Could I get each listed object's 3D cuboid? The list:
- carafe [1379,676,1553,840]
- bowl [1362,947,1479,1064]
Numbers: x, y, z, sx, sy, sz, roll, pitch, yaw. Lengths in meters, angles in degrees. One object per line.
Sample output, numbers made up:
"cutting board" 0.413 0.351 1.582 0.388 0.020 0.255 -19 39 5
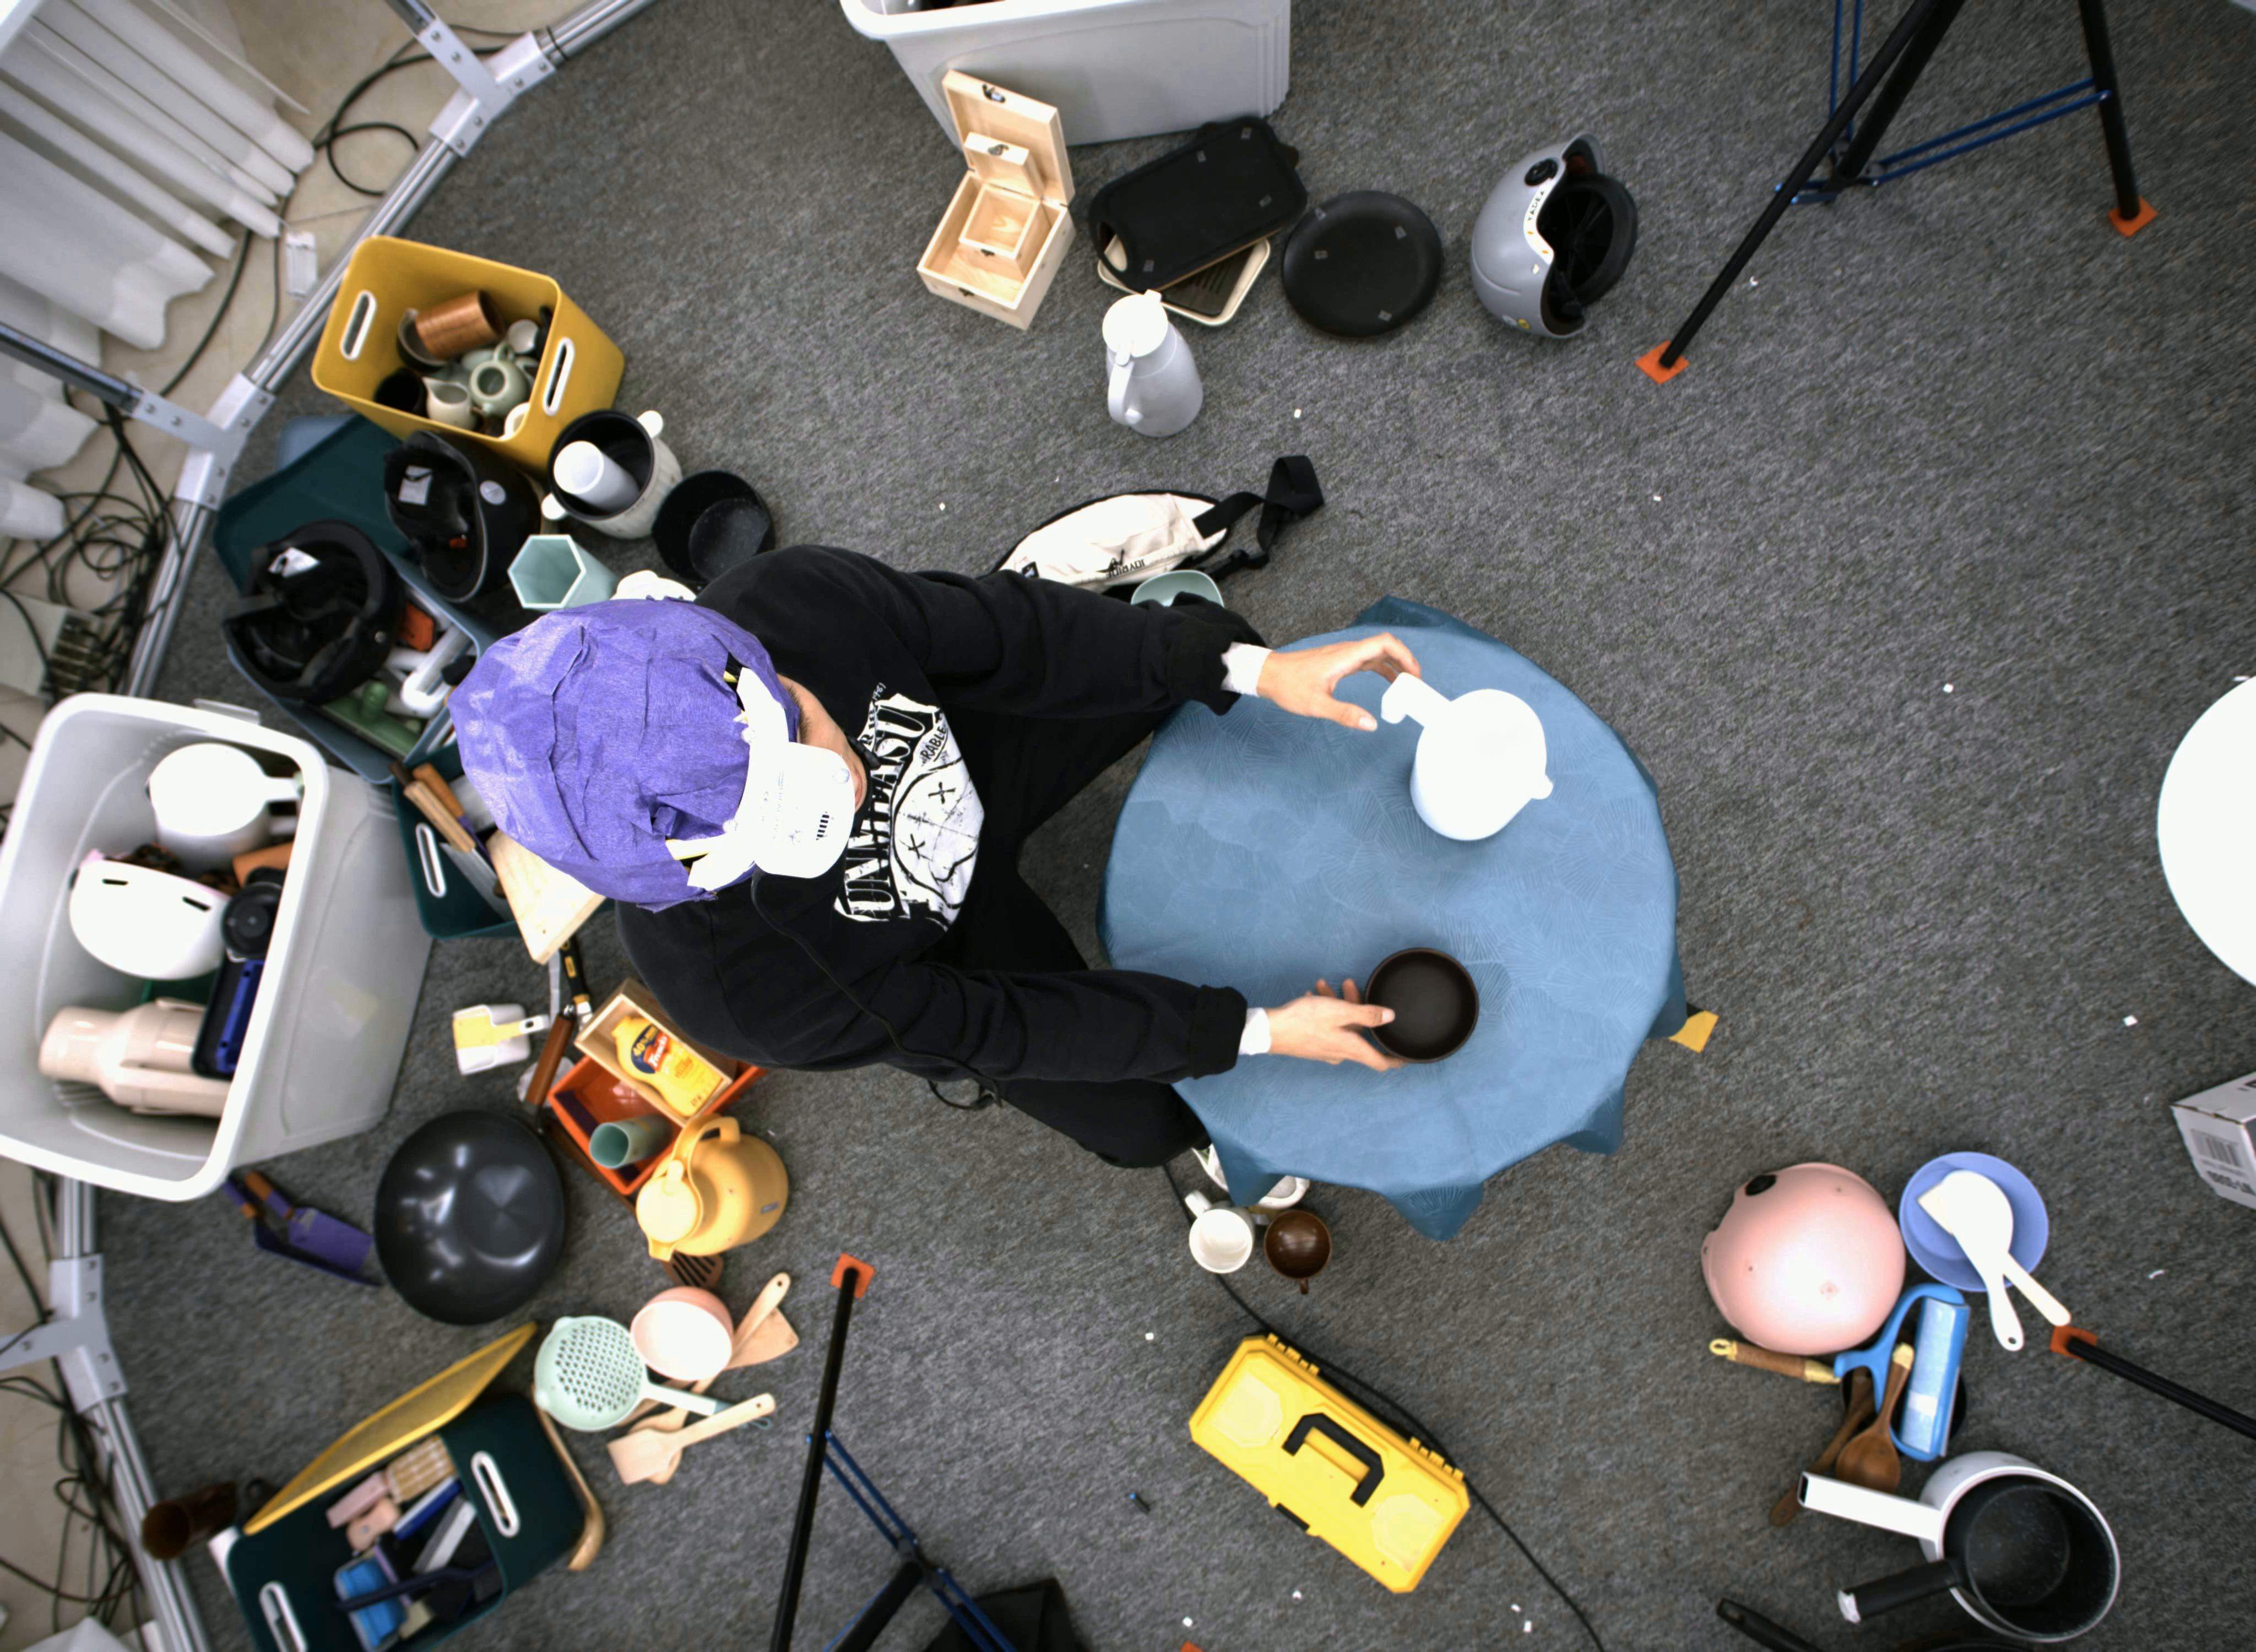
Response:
"carafe" 0.319 -0.066 1.323 0.172 0.268 0.124 37 94 11
"bowl" 0.298 0.181 1.413 0.118 0.070 0.117 -1 86 11
